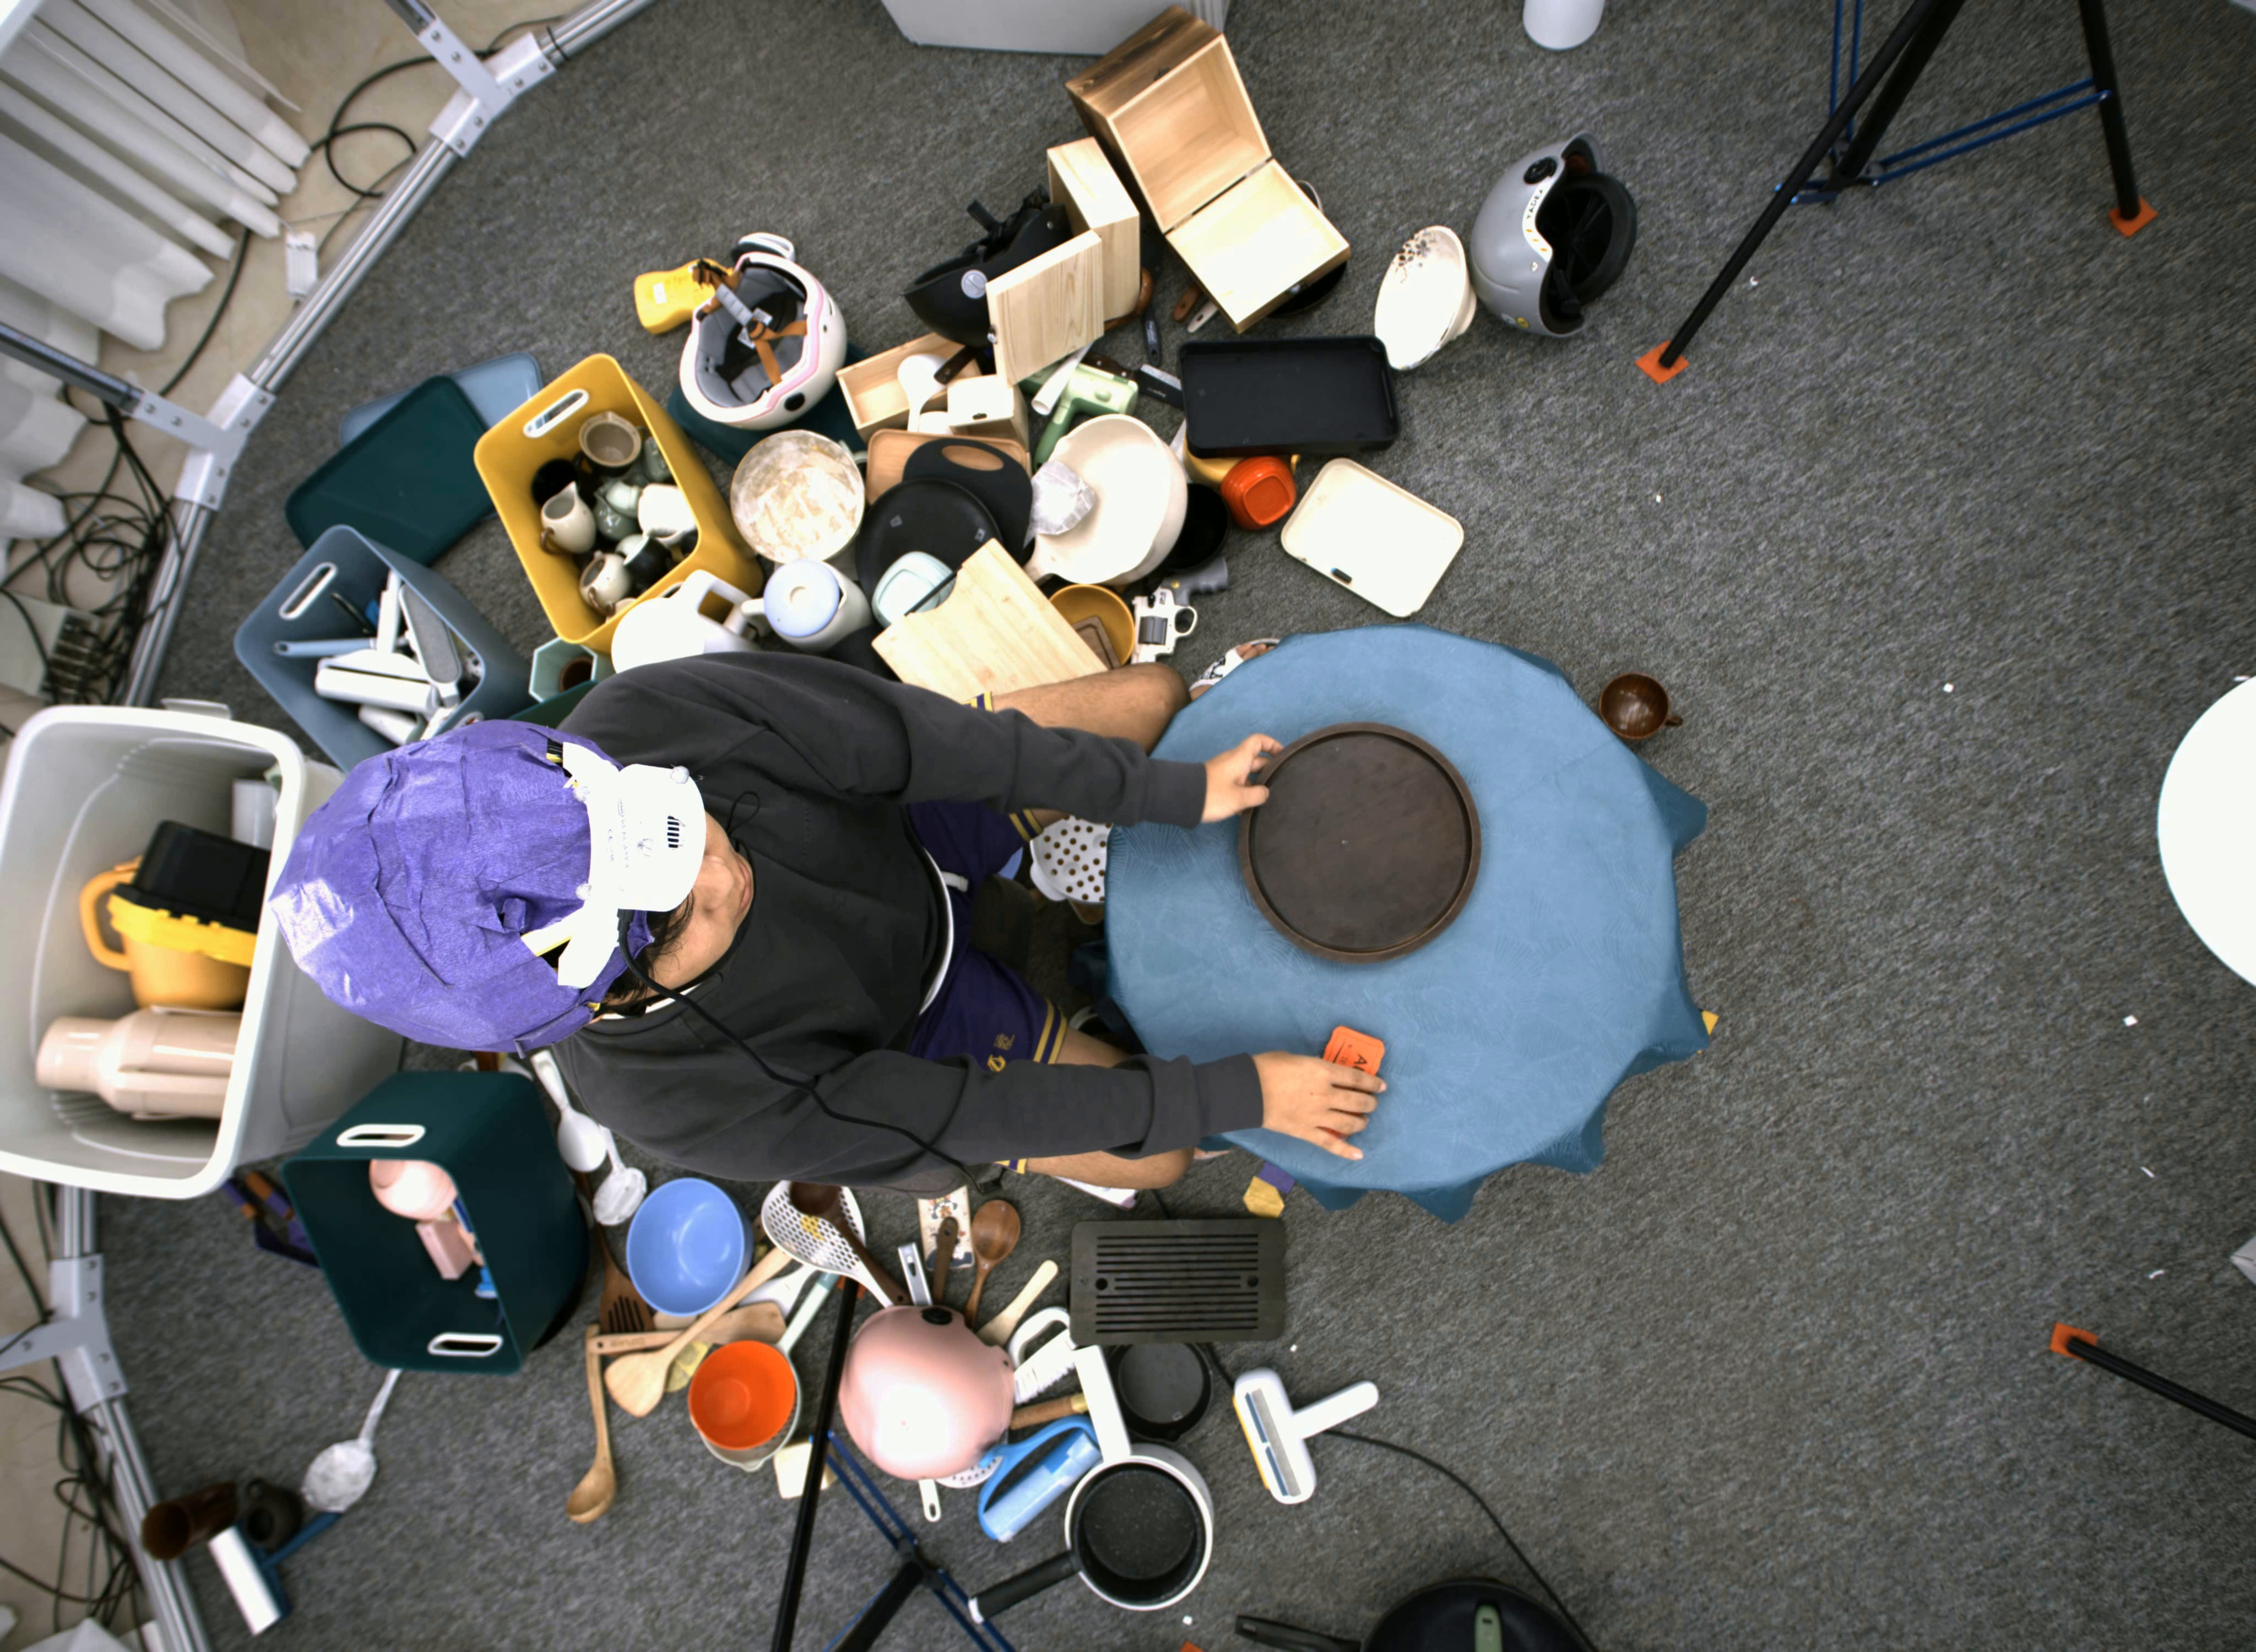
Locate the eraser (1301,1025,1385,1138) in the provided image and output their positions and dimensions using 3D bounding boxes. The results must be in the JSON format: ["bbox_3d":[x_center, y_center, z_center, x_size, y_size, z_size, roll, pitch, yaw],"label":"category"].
[{"bbox_3d":[0.223,0.264,1.441,0.059,0.023,0.108,22,91,8],"label":"eraser"}]

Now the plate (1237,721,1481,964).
[{"bbox_3d":[0.240,0.016,1.441,0.255,0.029,0.255,0,94,5],"label":"plate"}]
